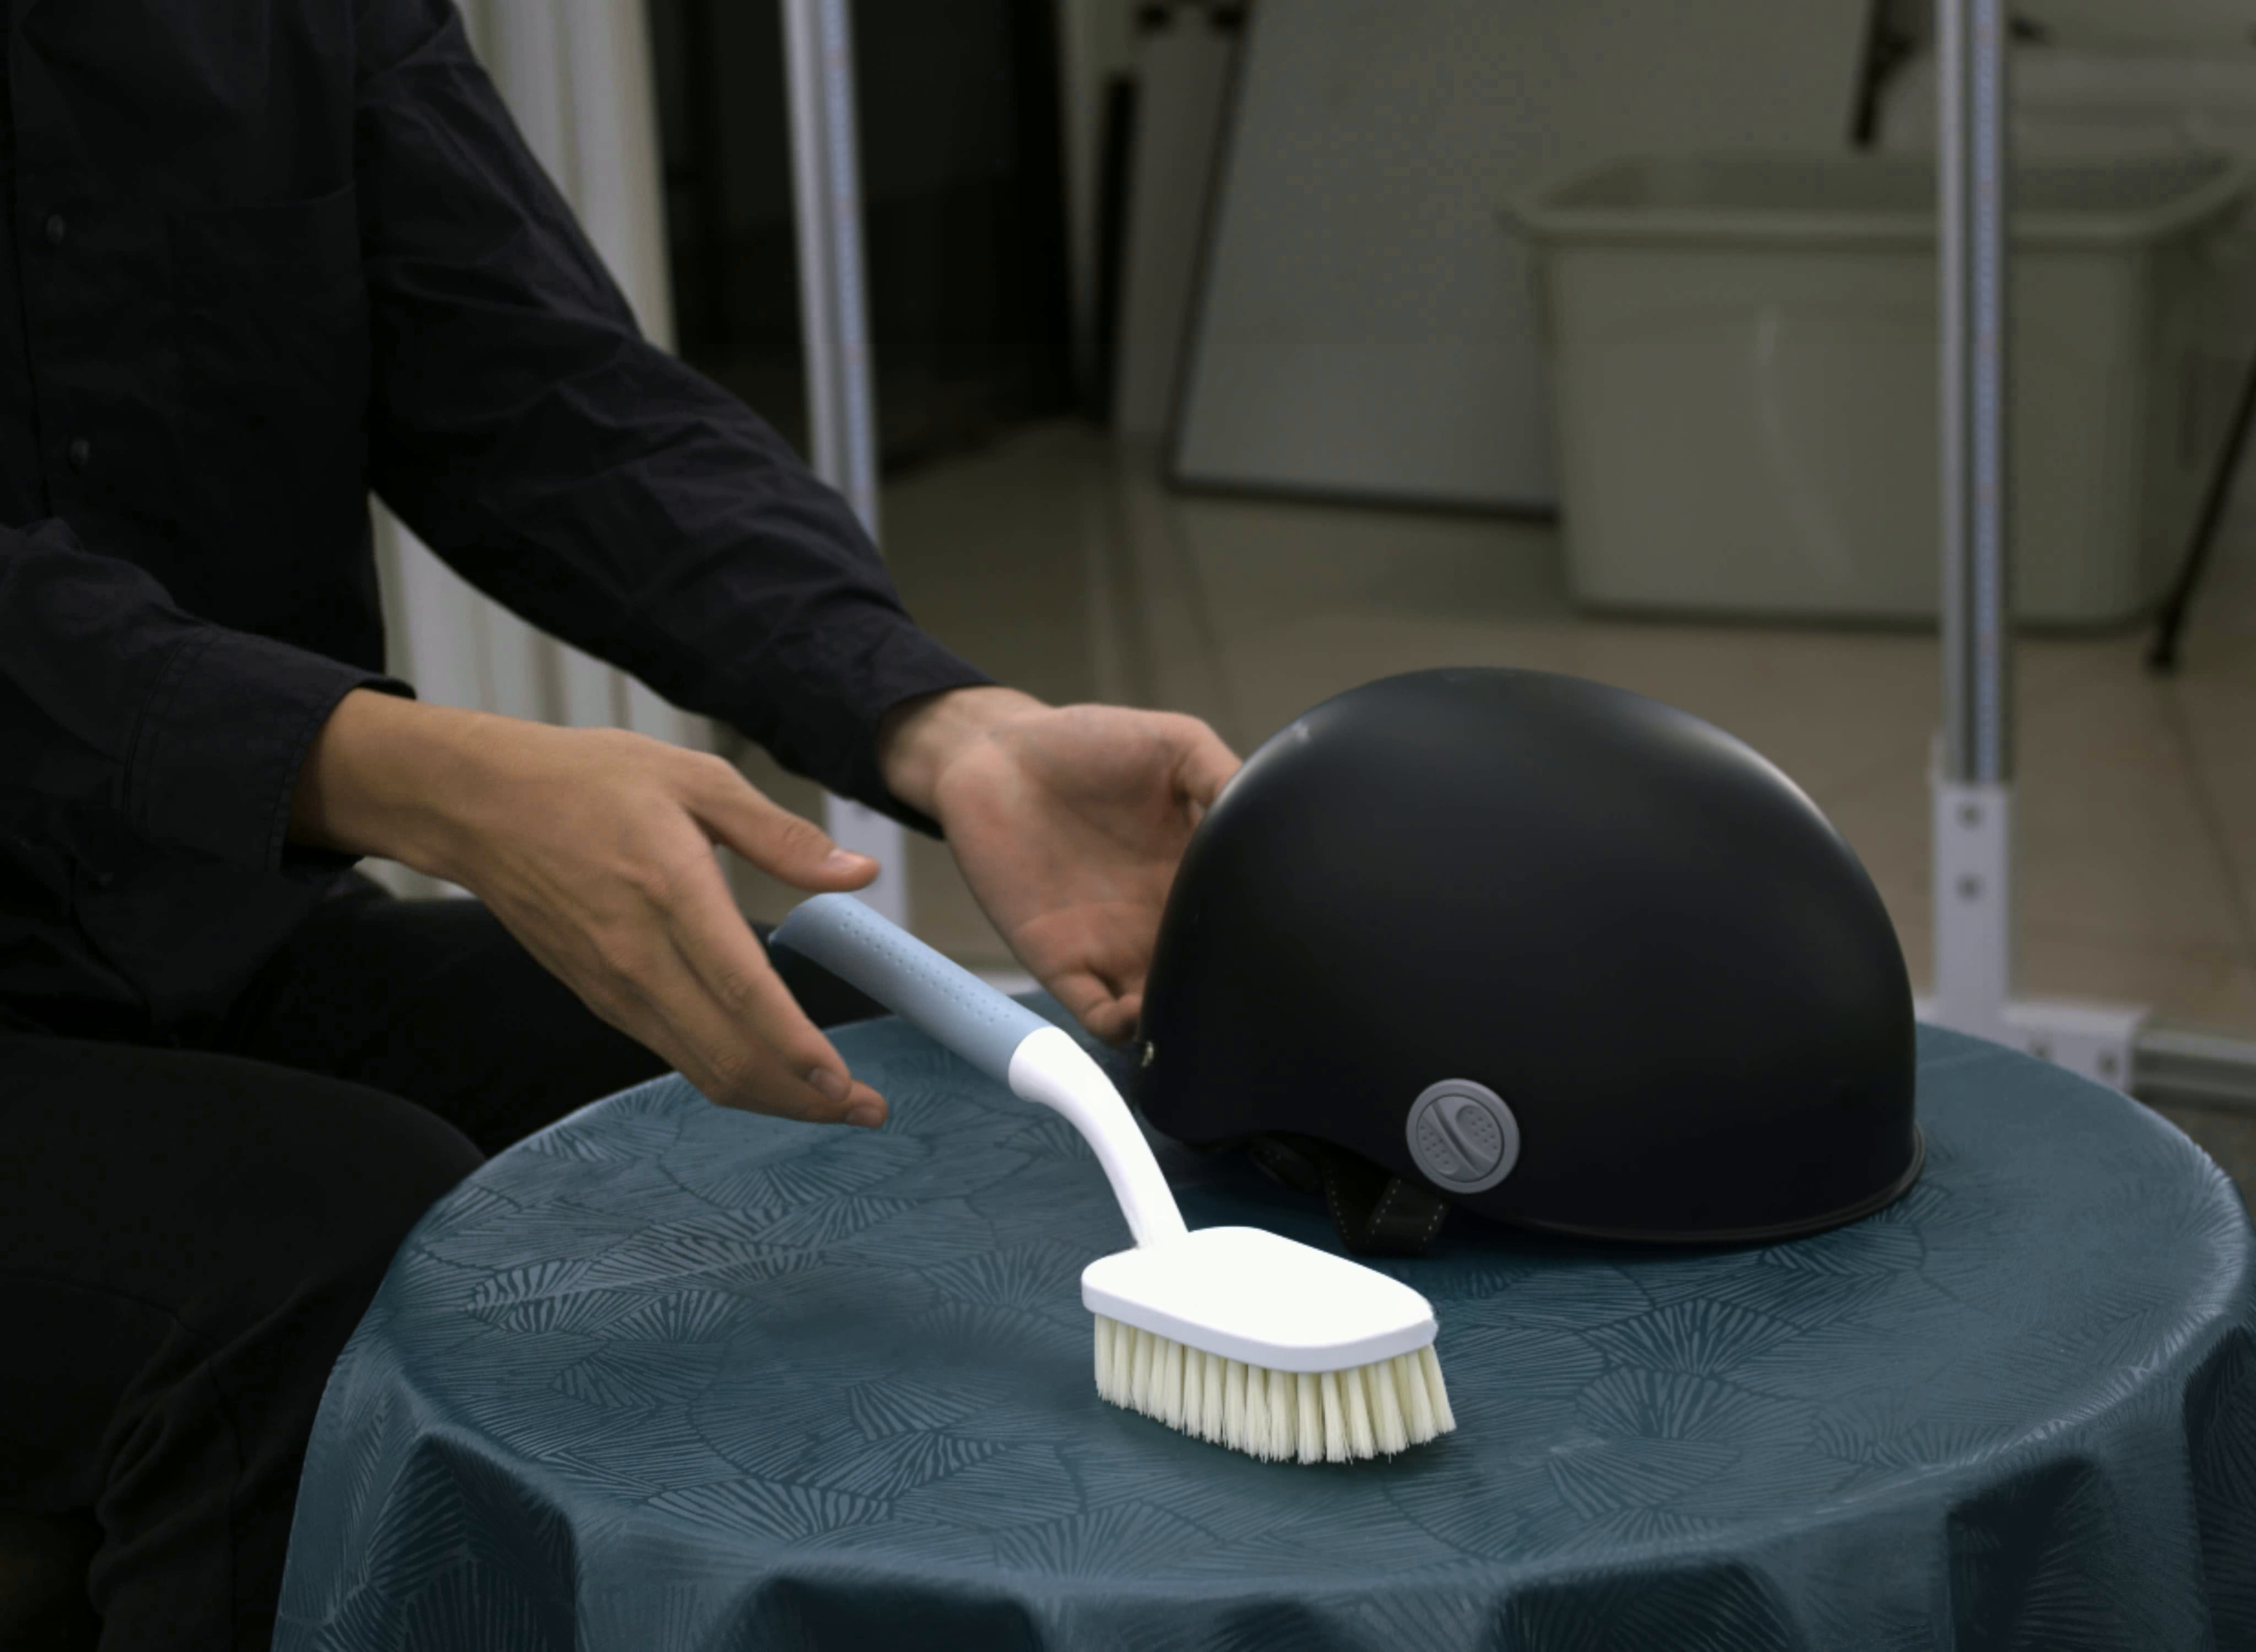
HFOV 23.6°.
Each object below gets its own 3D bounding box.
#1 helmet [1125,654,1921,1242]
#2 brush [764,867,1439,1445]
[{"bbox_3d":[0.130,0.031,1.767,0.275,0.168,0.226,10,20,36],"label":"helmet"},{"bbox_3d":[-0.014,0.112,1.634,0.081,0.085,0.329,33,-1,-43],"label":"brush"}]
